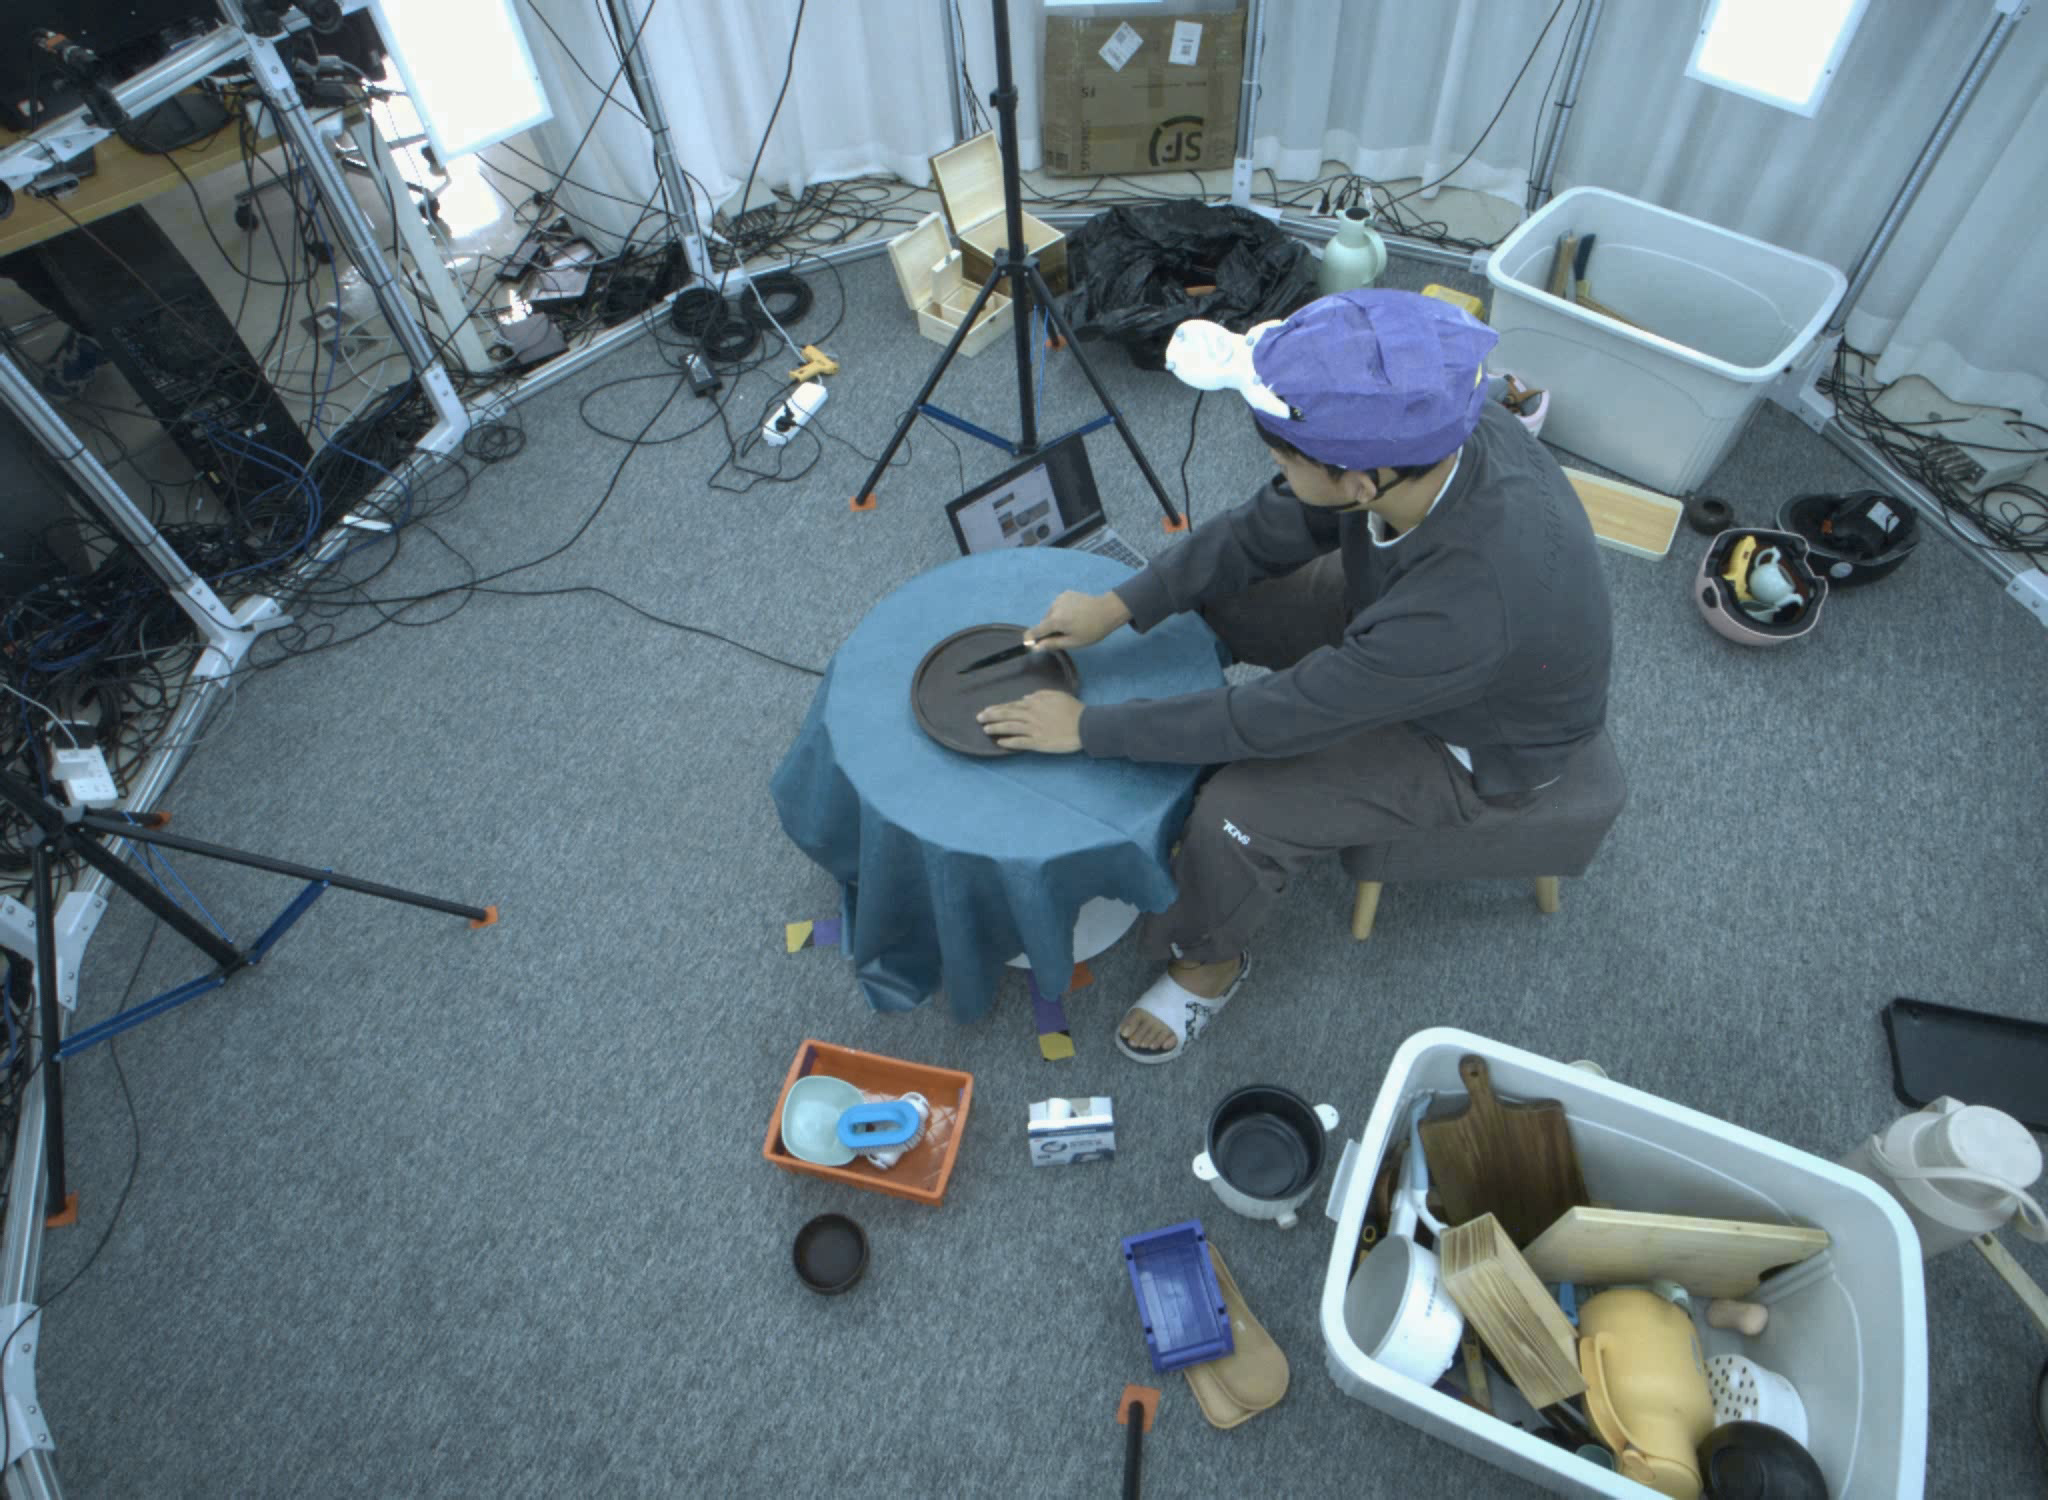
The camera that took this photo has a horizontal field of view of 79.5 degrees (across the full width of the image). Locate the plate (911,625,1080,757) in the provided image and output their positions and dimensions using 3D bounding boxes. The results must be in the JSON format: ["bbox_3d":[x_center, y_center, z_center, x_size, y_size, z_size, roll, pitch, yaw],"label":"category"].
[{"bbox_3d":[-0.043,-0.090,1.838,0.255,0.029,0.252,0,53,1],"label":"plate"}]

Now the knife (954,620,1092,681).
[{"bbox_3d":[-0.002,-0.150,1.845,0.227,0.026,0.017,-21,45,-10],"label":"knife"}]
